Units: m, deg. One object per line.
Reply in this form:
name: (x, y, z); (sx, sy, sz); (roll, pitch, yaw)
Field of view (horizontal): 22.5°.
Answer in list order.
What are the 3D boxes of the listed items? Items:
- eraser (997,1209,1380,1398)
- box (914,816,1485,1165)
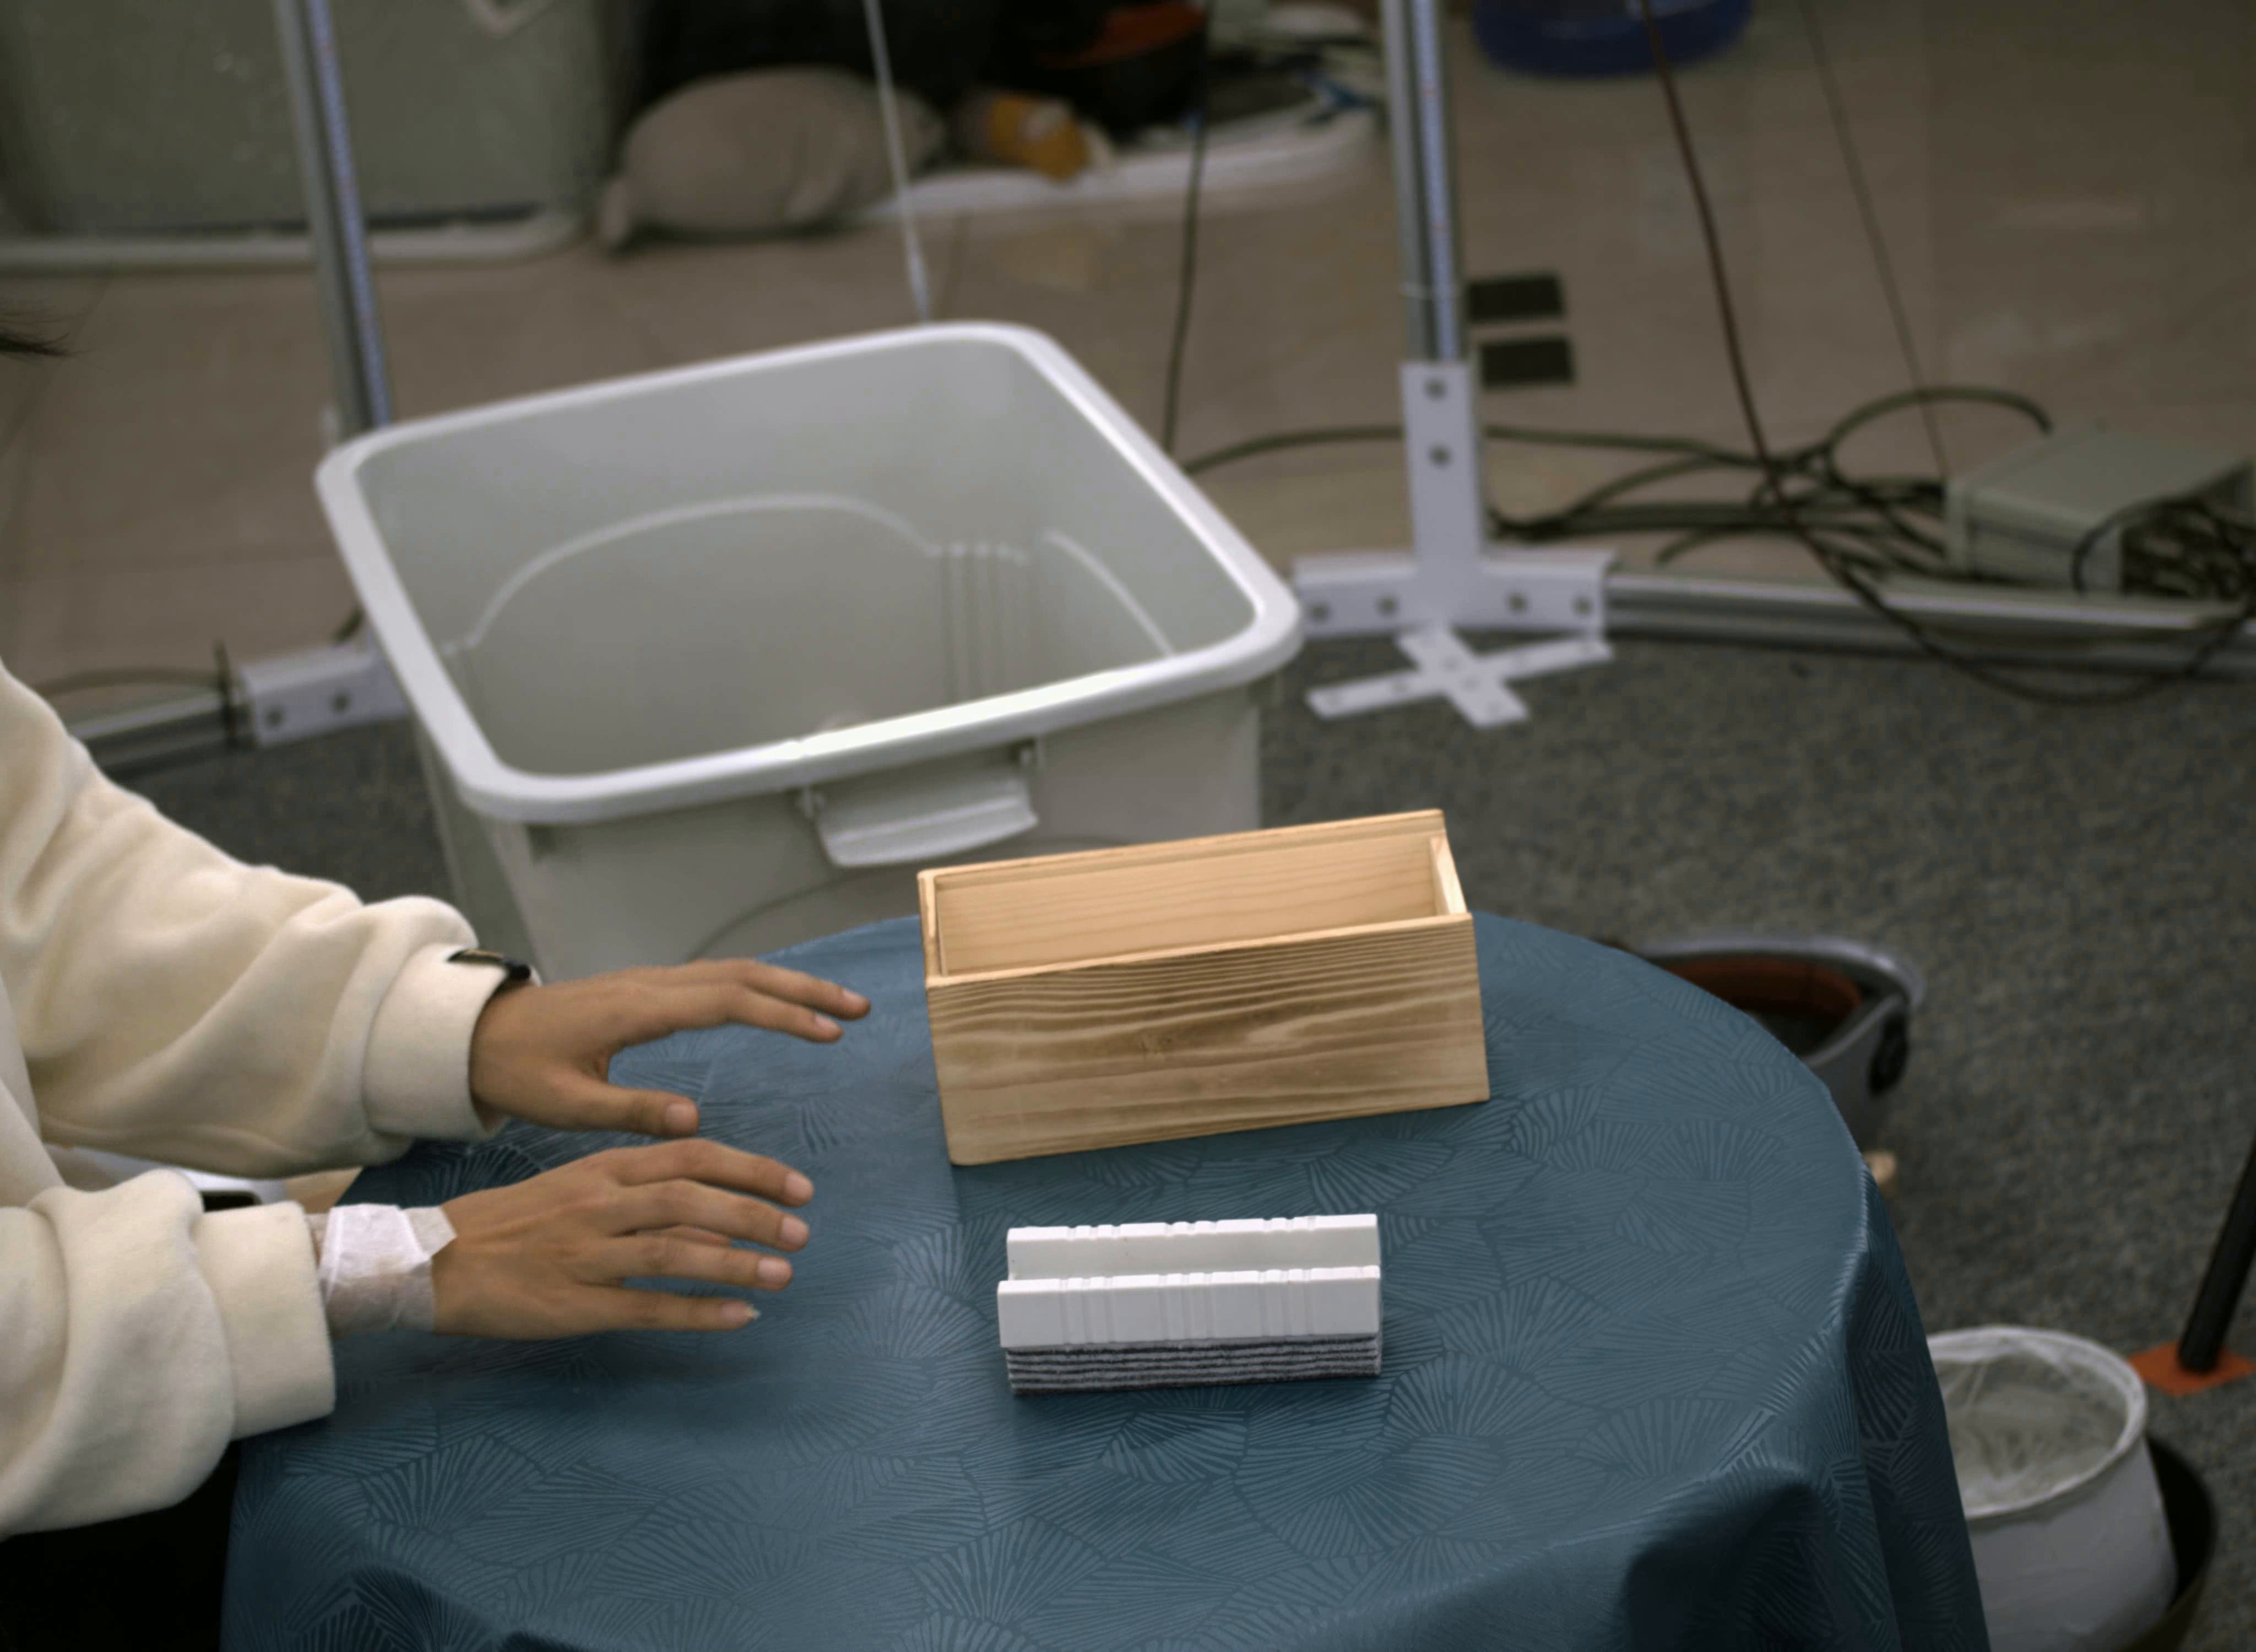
eraser: (0.023, 0.170, 2.019); (0.134, 0.047, 0.049); (-3, 27, 3)
box: (0.026, 0.063, 2.210); (0.211, 0.081, 0.106); (-7, 25, -2)
